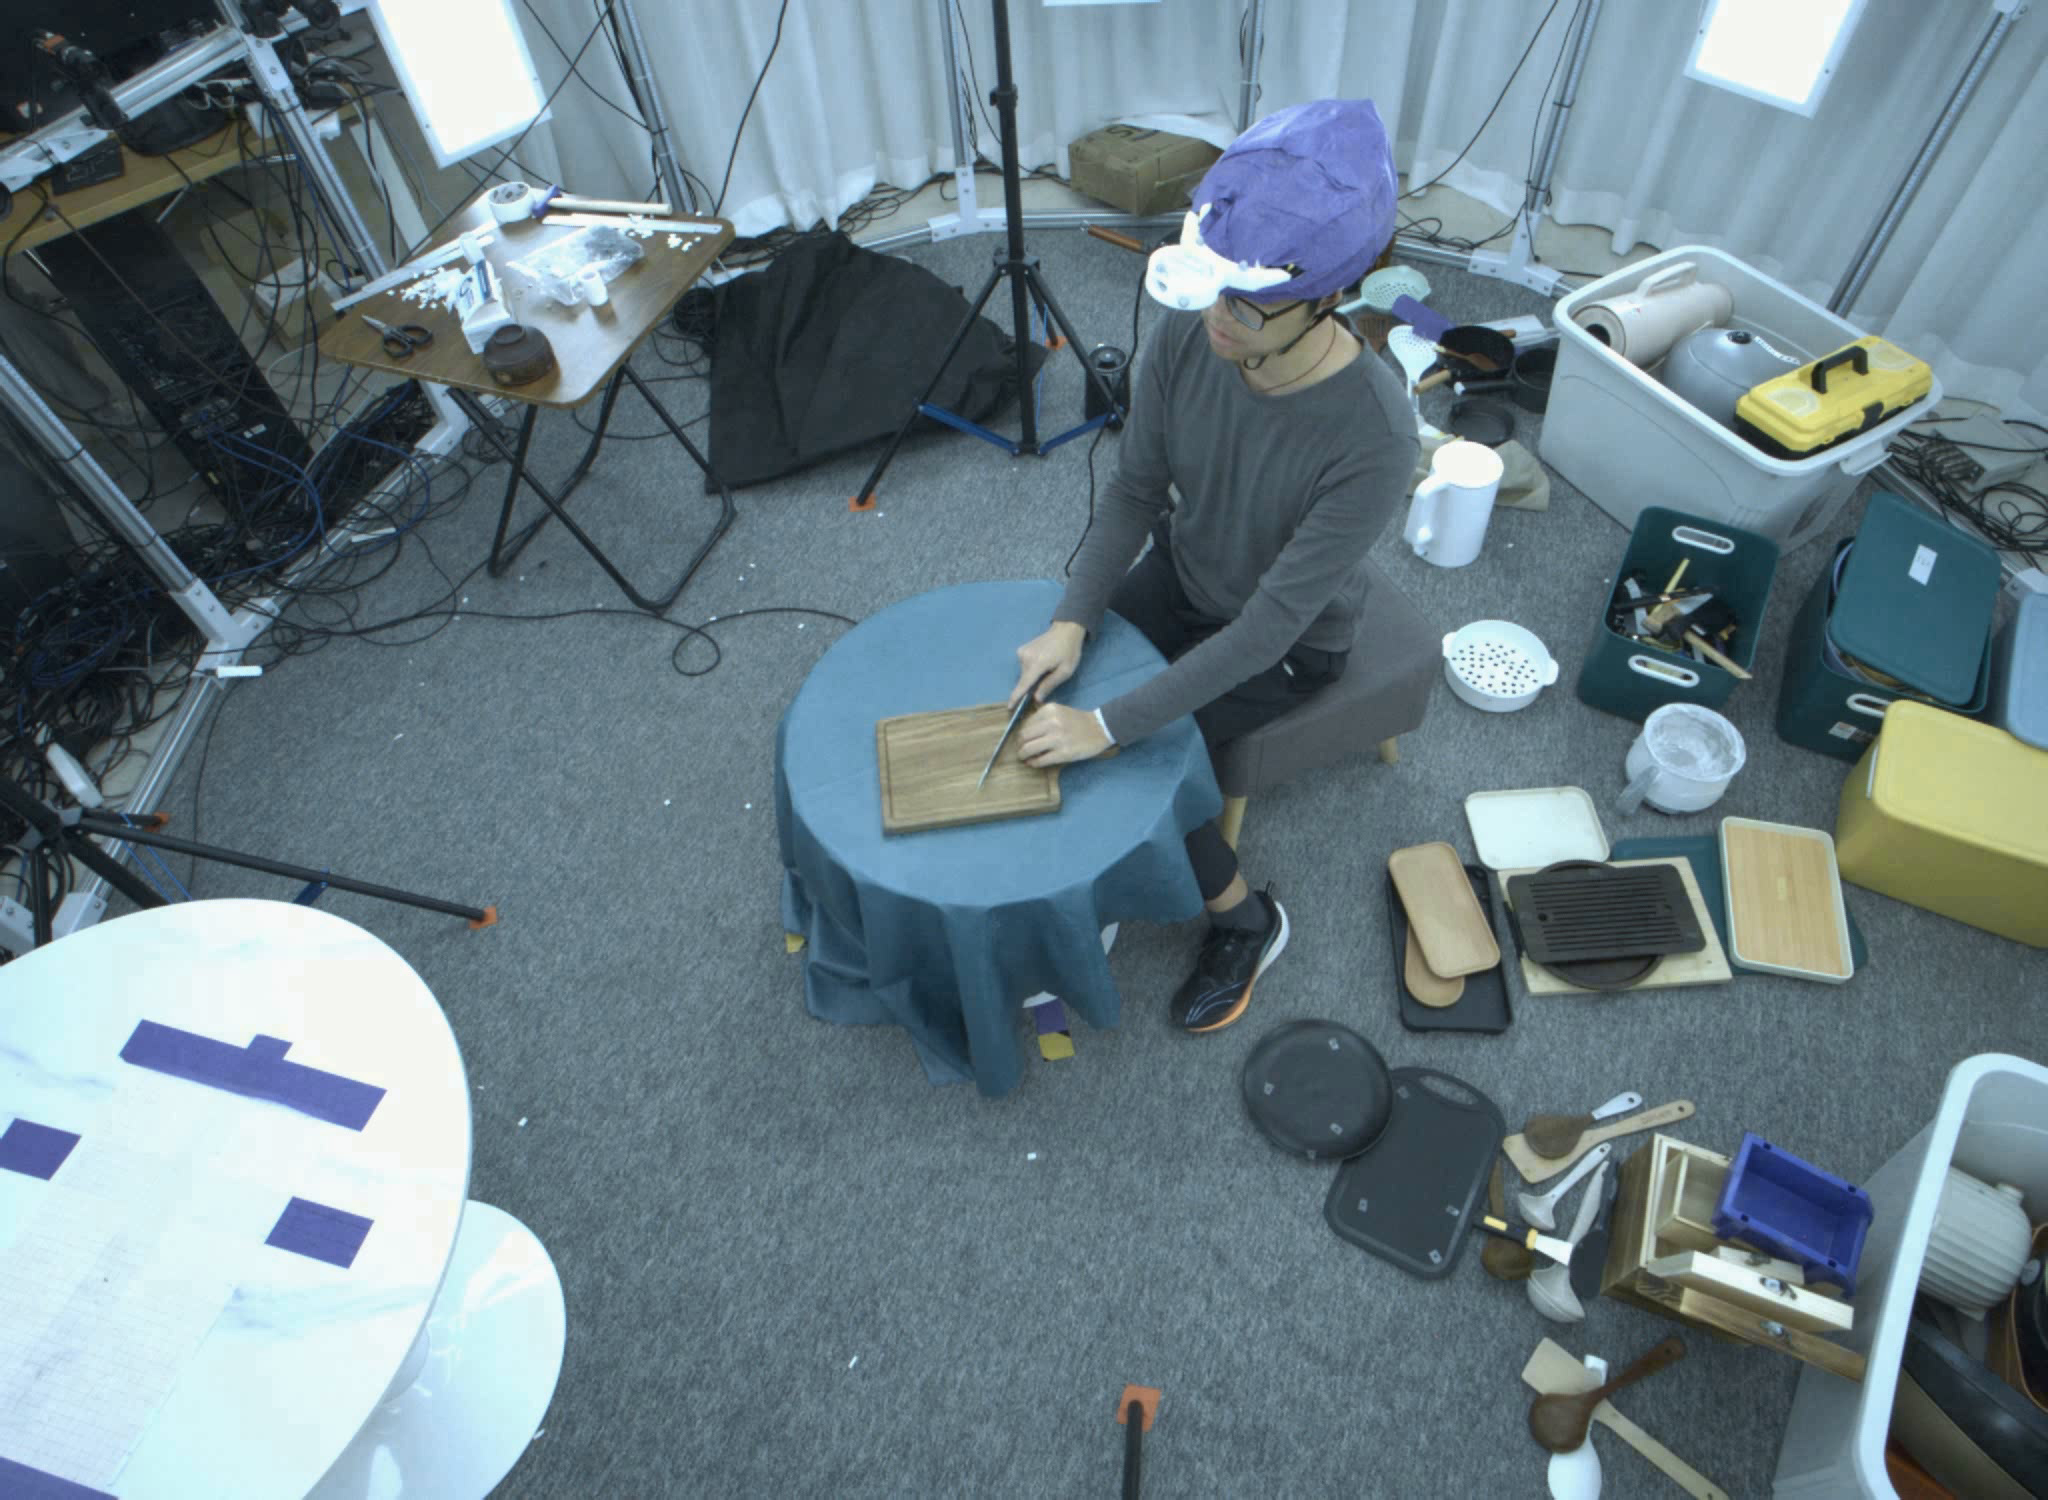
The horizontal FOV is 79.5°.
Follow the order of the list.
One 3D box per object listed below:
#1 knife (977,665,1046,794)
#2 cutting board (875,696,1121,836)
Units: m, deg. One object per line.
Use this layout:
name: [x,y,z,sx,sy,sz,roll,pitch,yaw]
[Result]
knife: [-0.019,-0.033,1.781,0.016,0.024,0.238,20,61,12]
cutting board: [-0.033,0.013,1.774,0.353,0.023,0.198,-8,55,-5]
